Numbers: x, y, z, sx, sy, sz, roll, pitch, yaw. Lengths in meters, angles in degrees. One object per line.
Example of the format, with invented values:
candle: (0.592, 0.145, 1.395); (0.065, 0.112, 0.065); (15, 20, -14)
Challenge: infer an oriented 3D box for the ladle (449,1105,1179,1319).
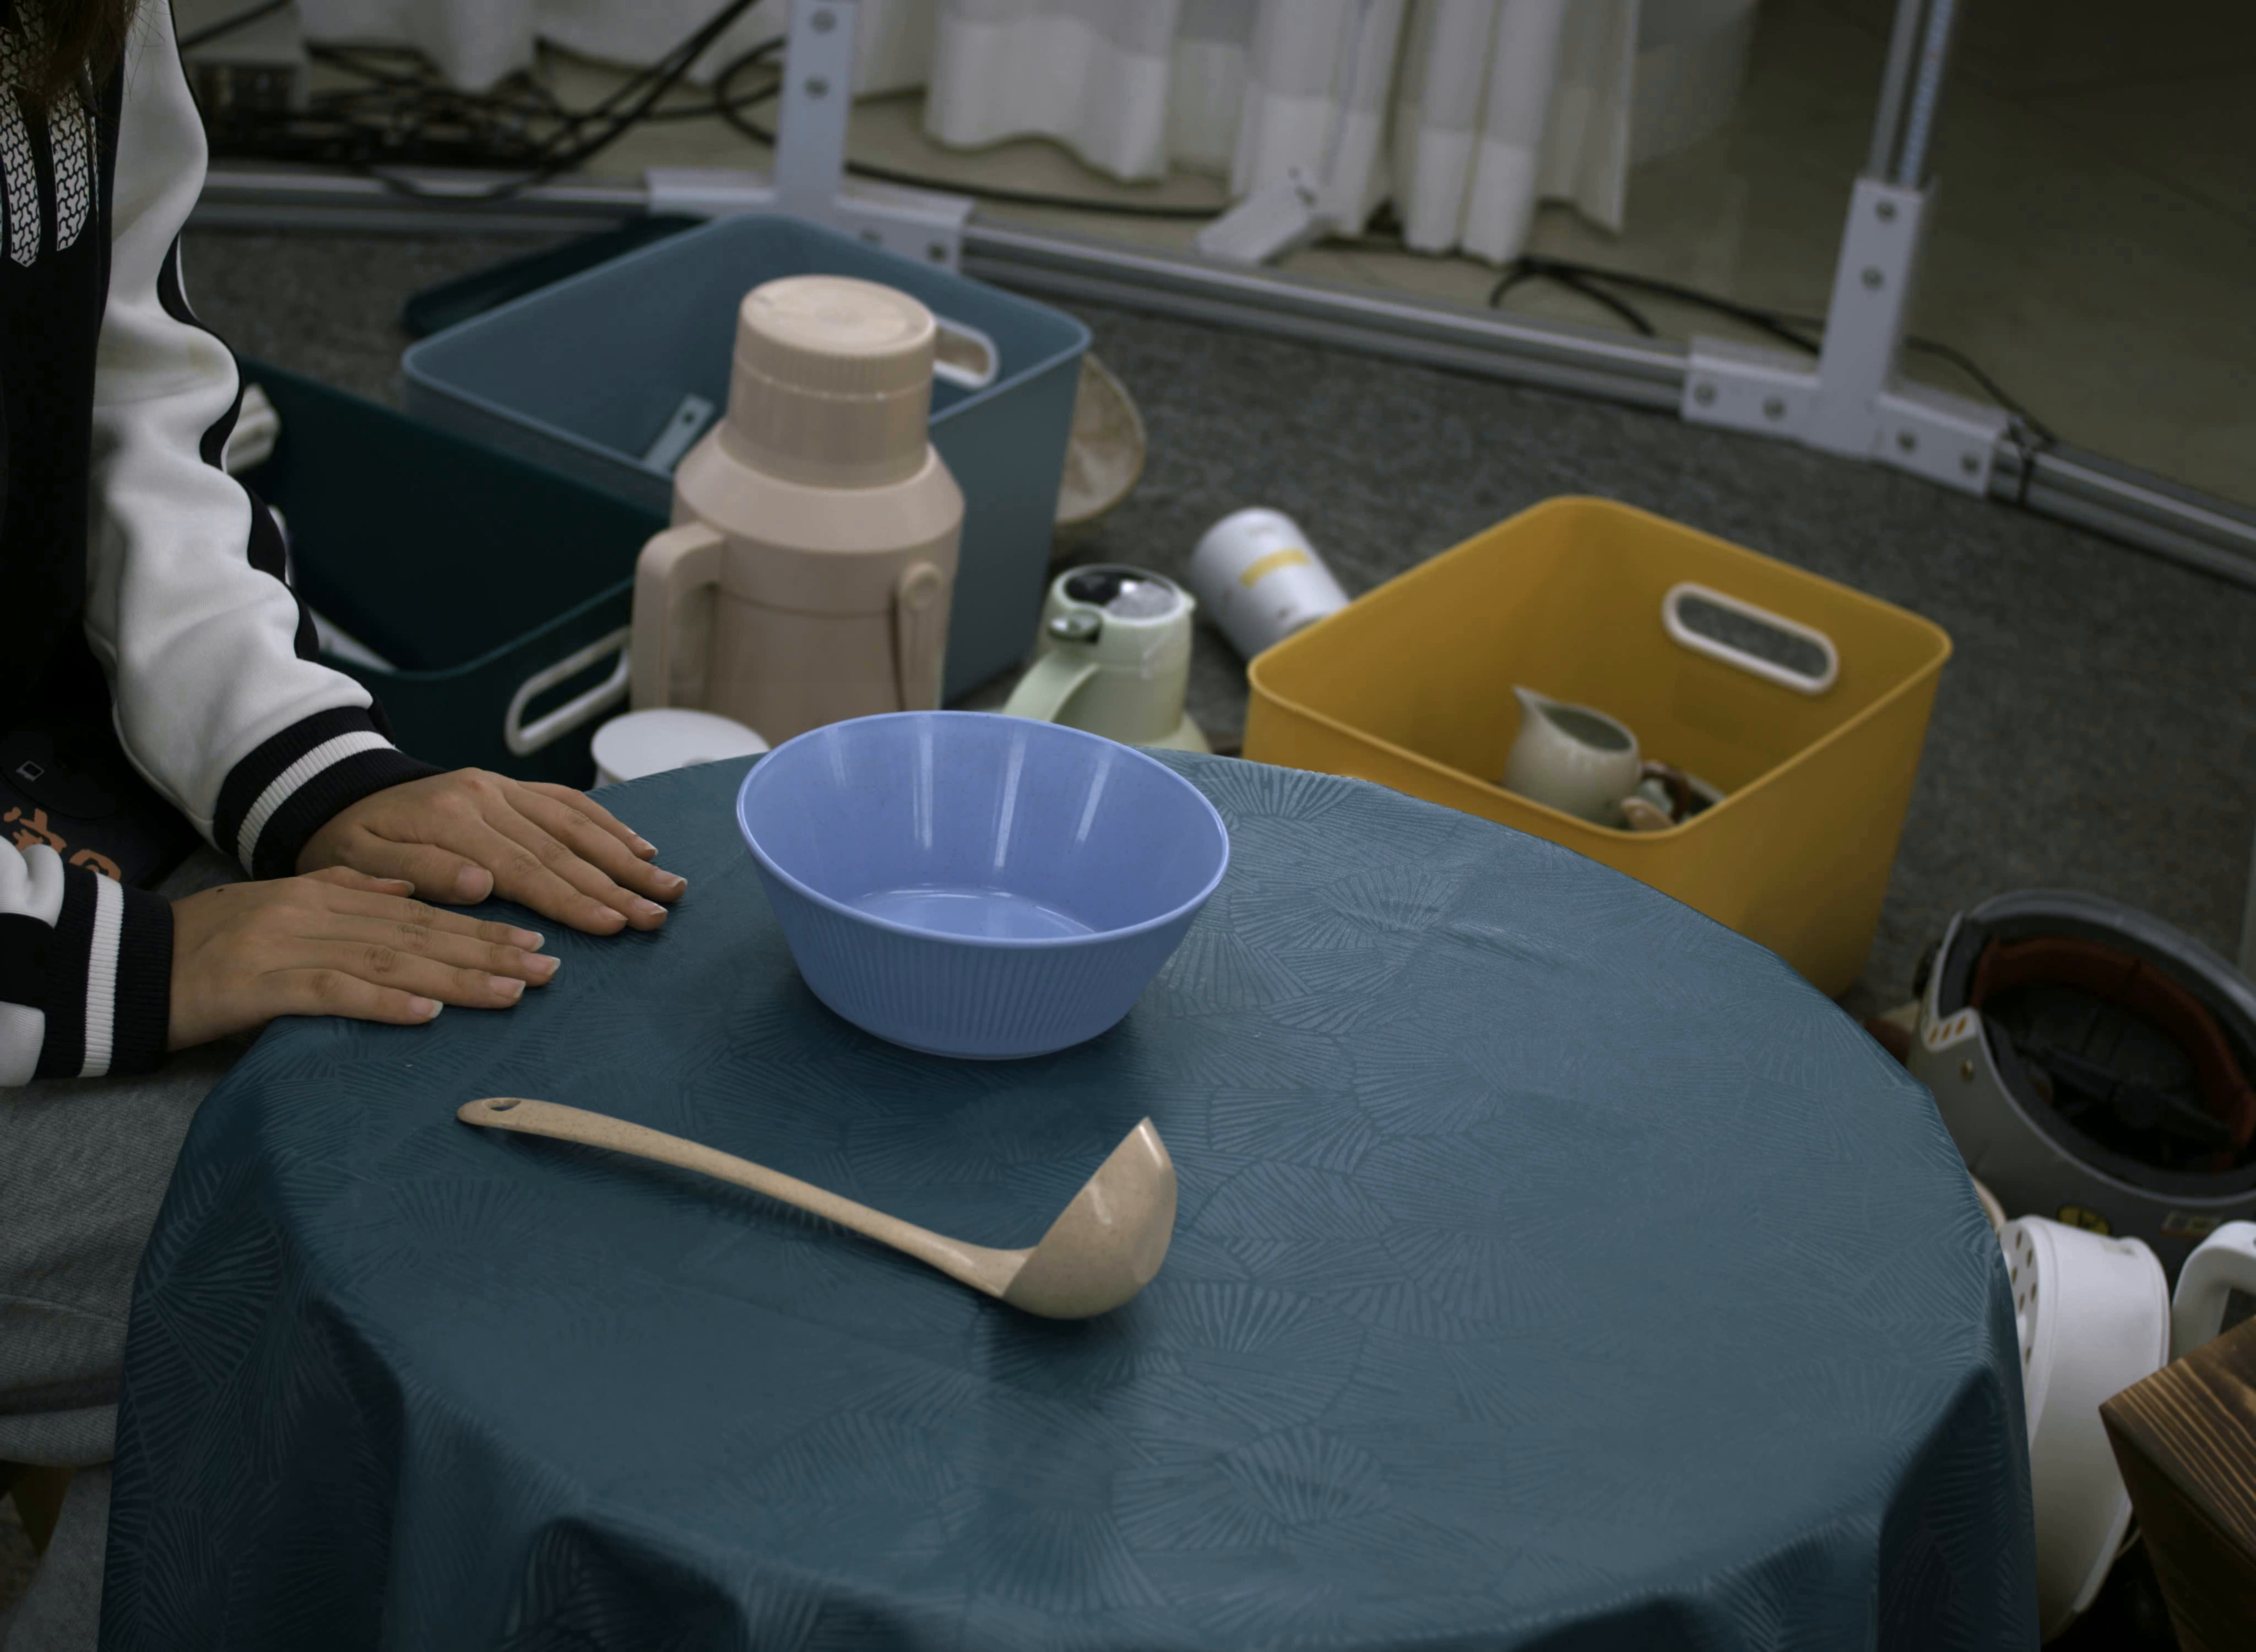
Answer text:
ladle: (-0.107, 0.099, 1.745); (0.255, 0.072, 0.072); (15, 27, 16)

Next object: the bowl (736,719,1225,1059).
bowl: (-0.055, 0.028, 1.901); (0.175, 0.070, 0.177); (6, 26, -3)
